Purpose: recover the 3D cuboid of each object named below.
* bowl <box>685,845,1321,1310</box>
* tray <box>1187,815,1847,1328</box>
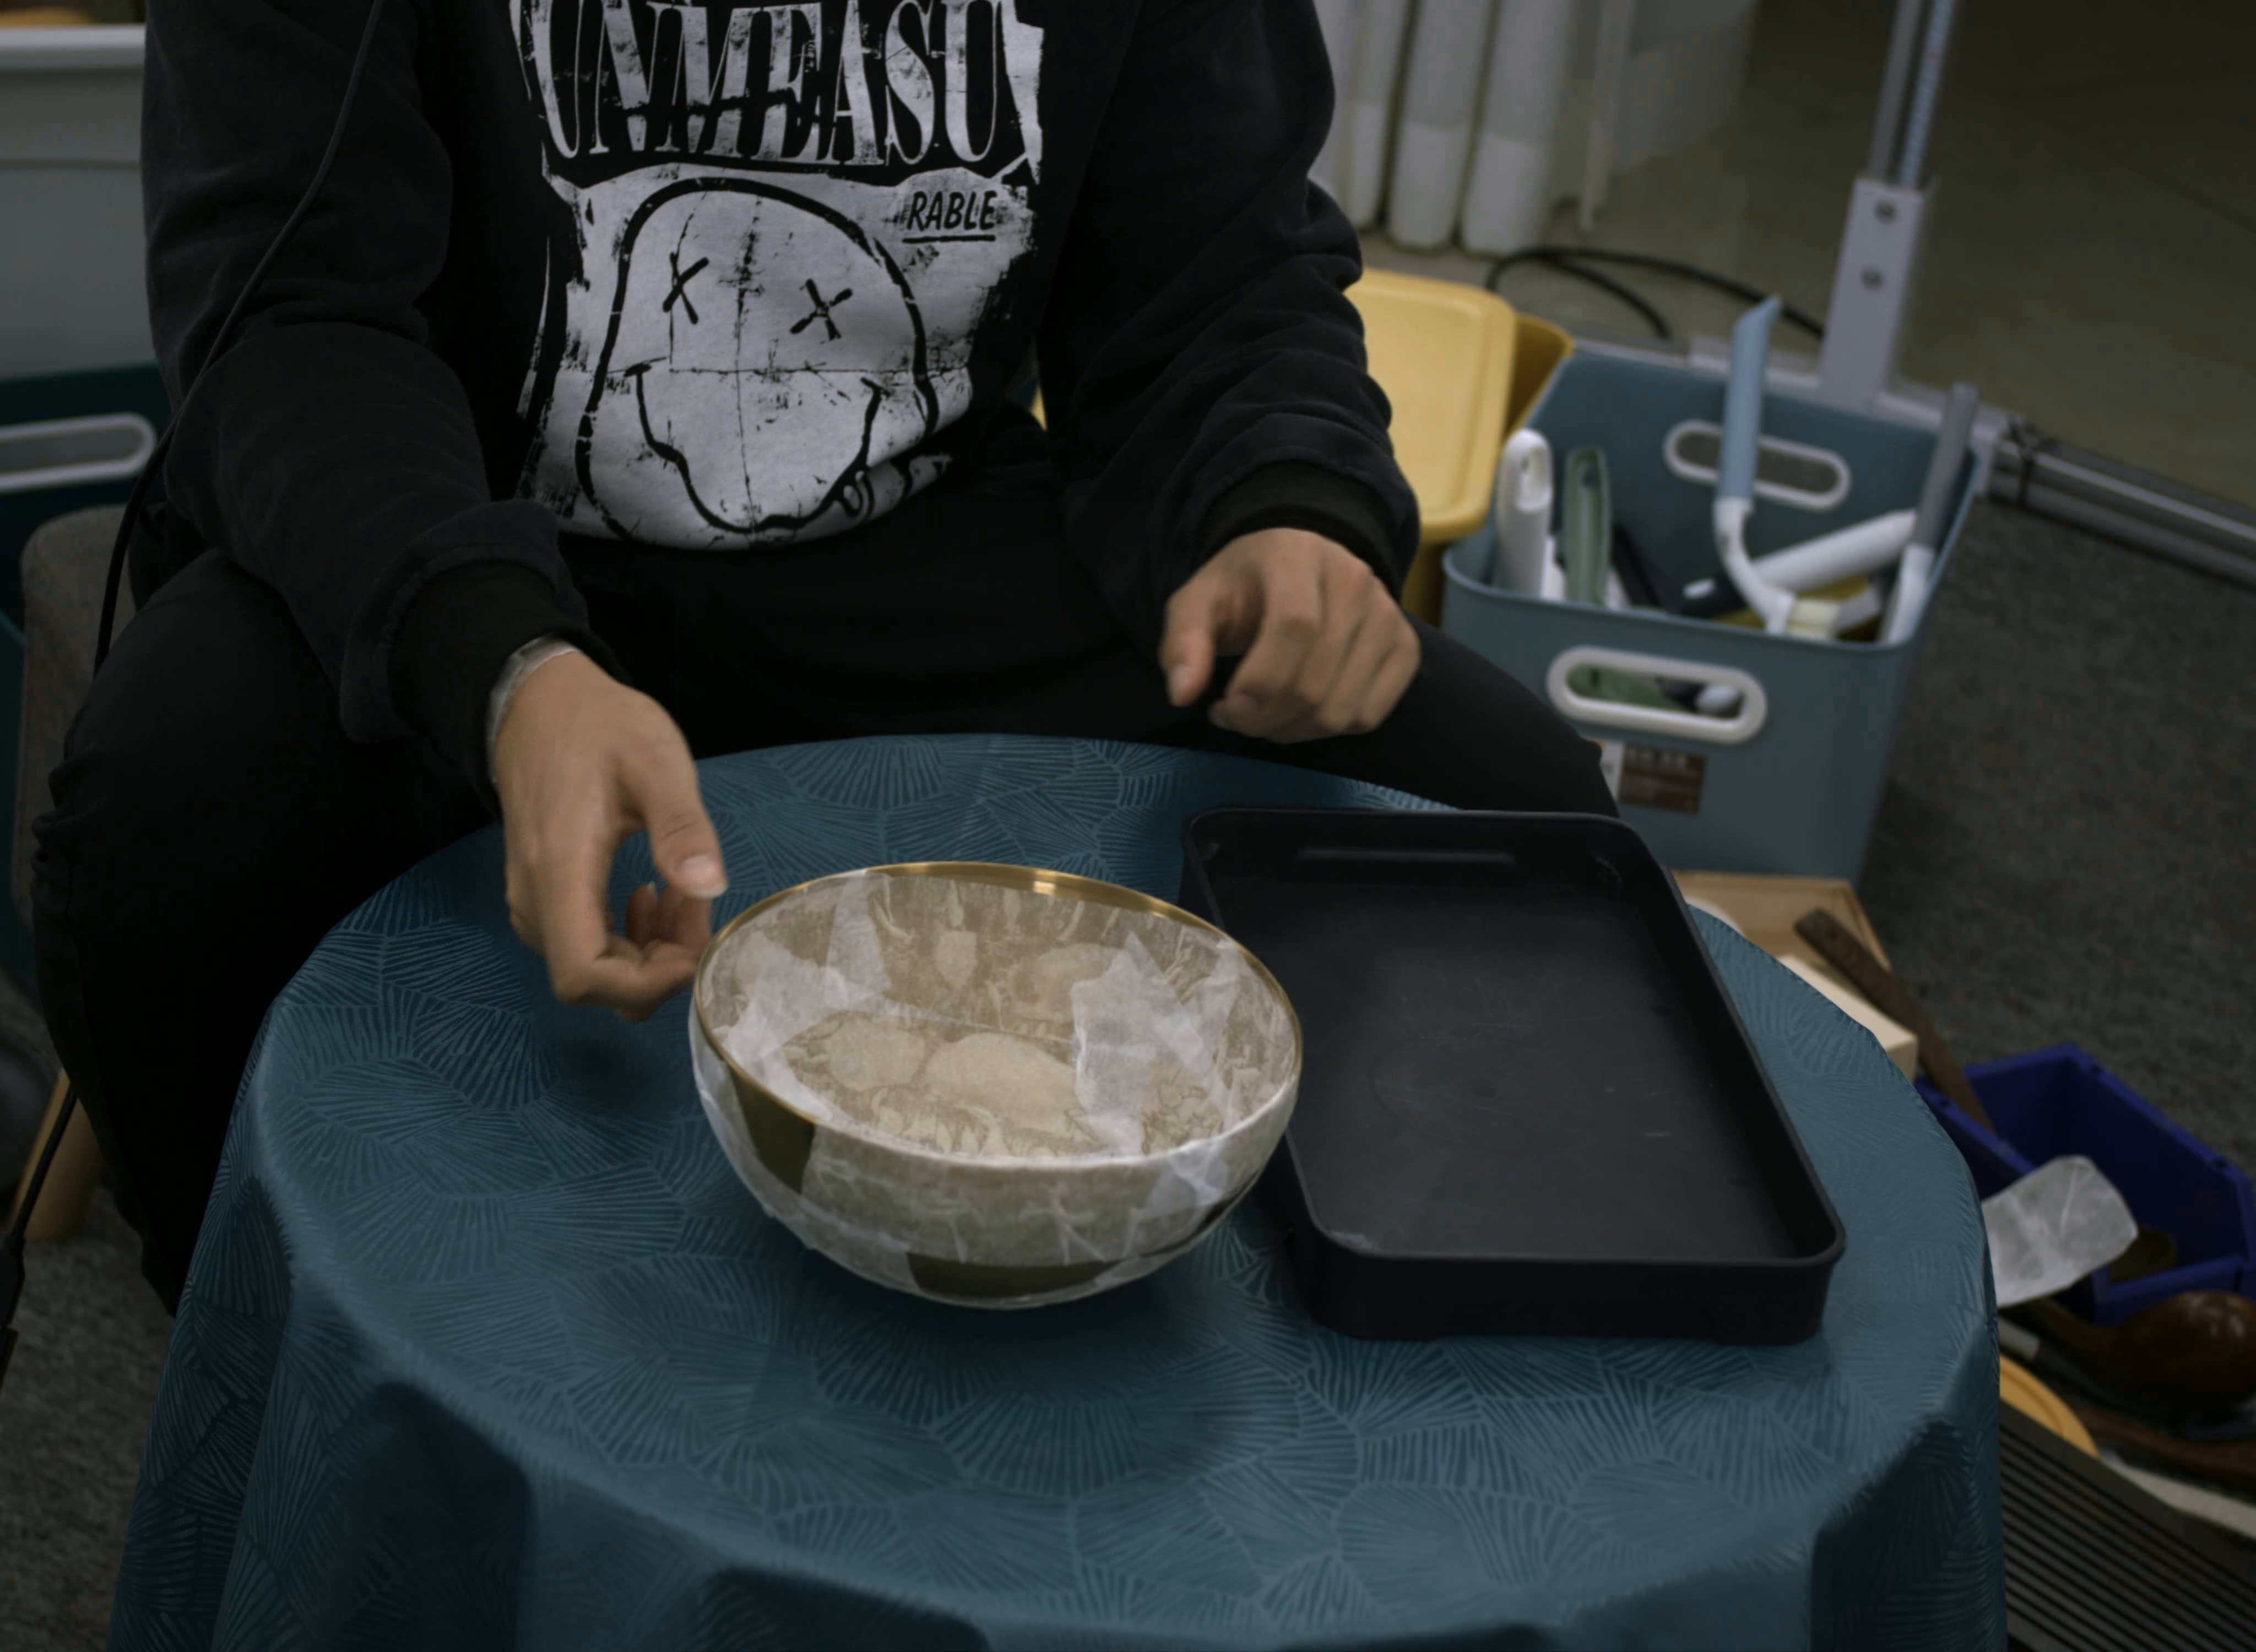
[{"bbox_3d":[-0.045,0.095,1.745,0.214,0.094,0.216,4,27,-2],"label":"bowl"},{"bbox_3d":[0.128,0.080,1.868,0.183,0.037,0.320,1,25,-8],"label":"tray"}]
